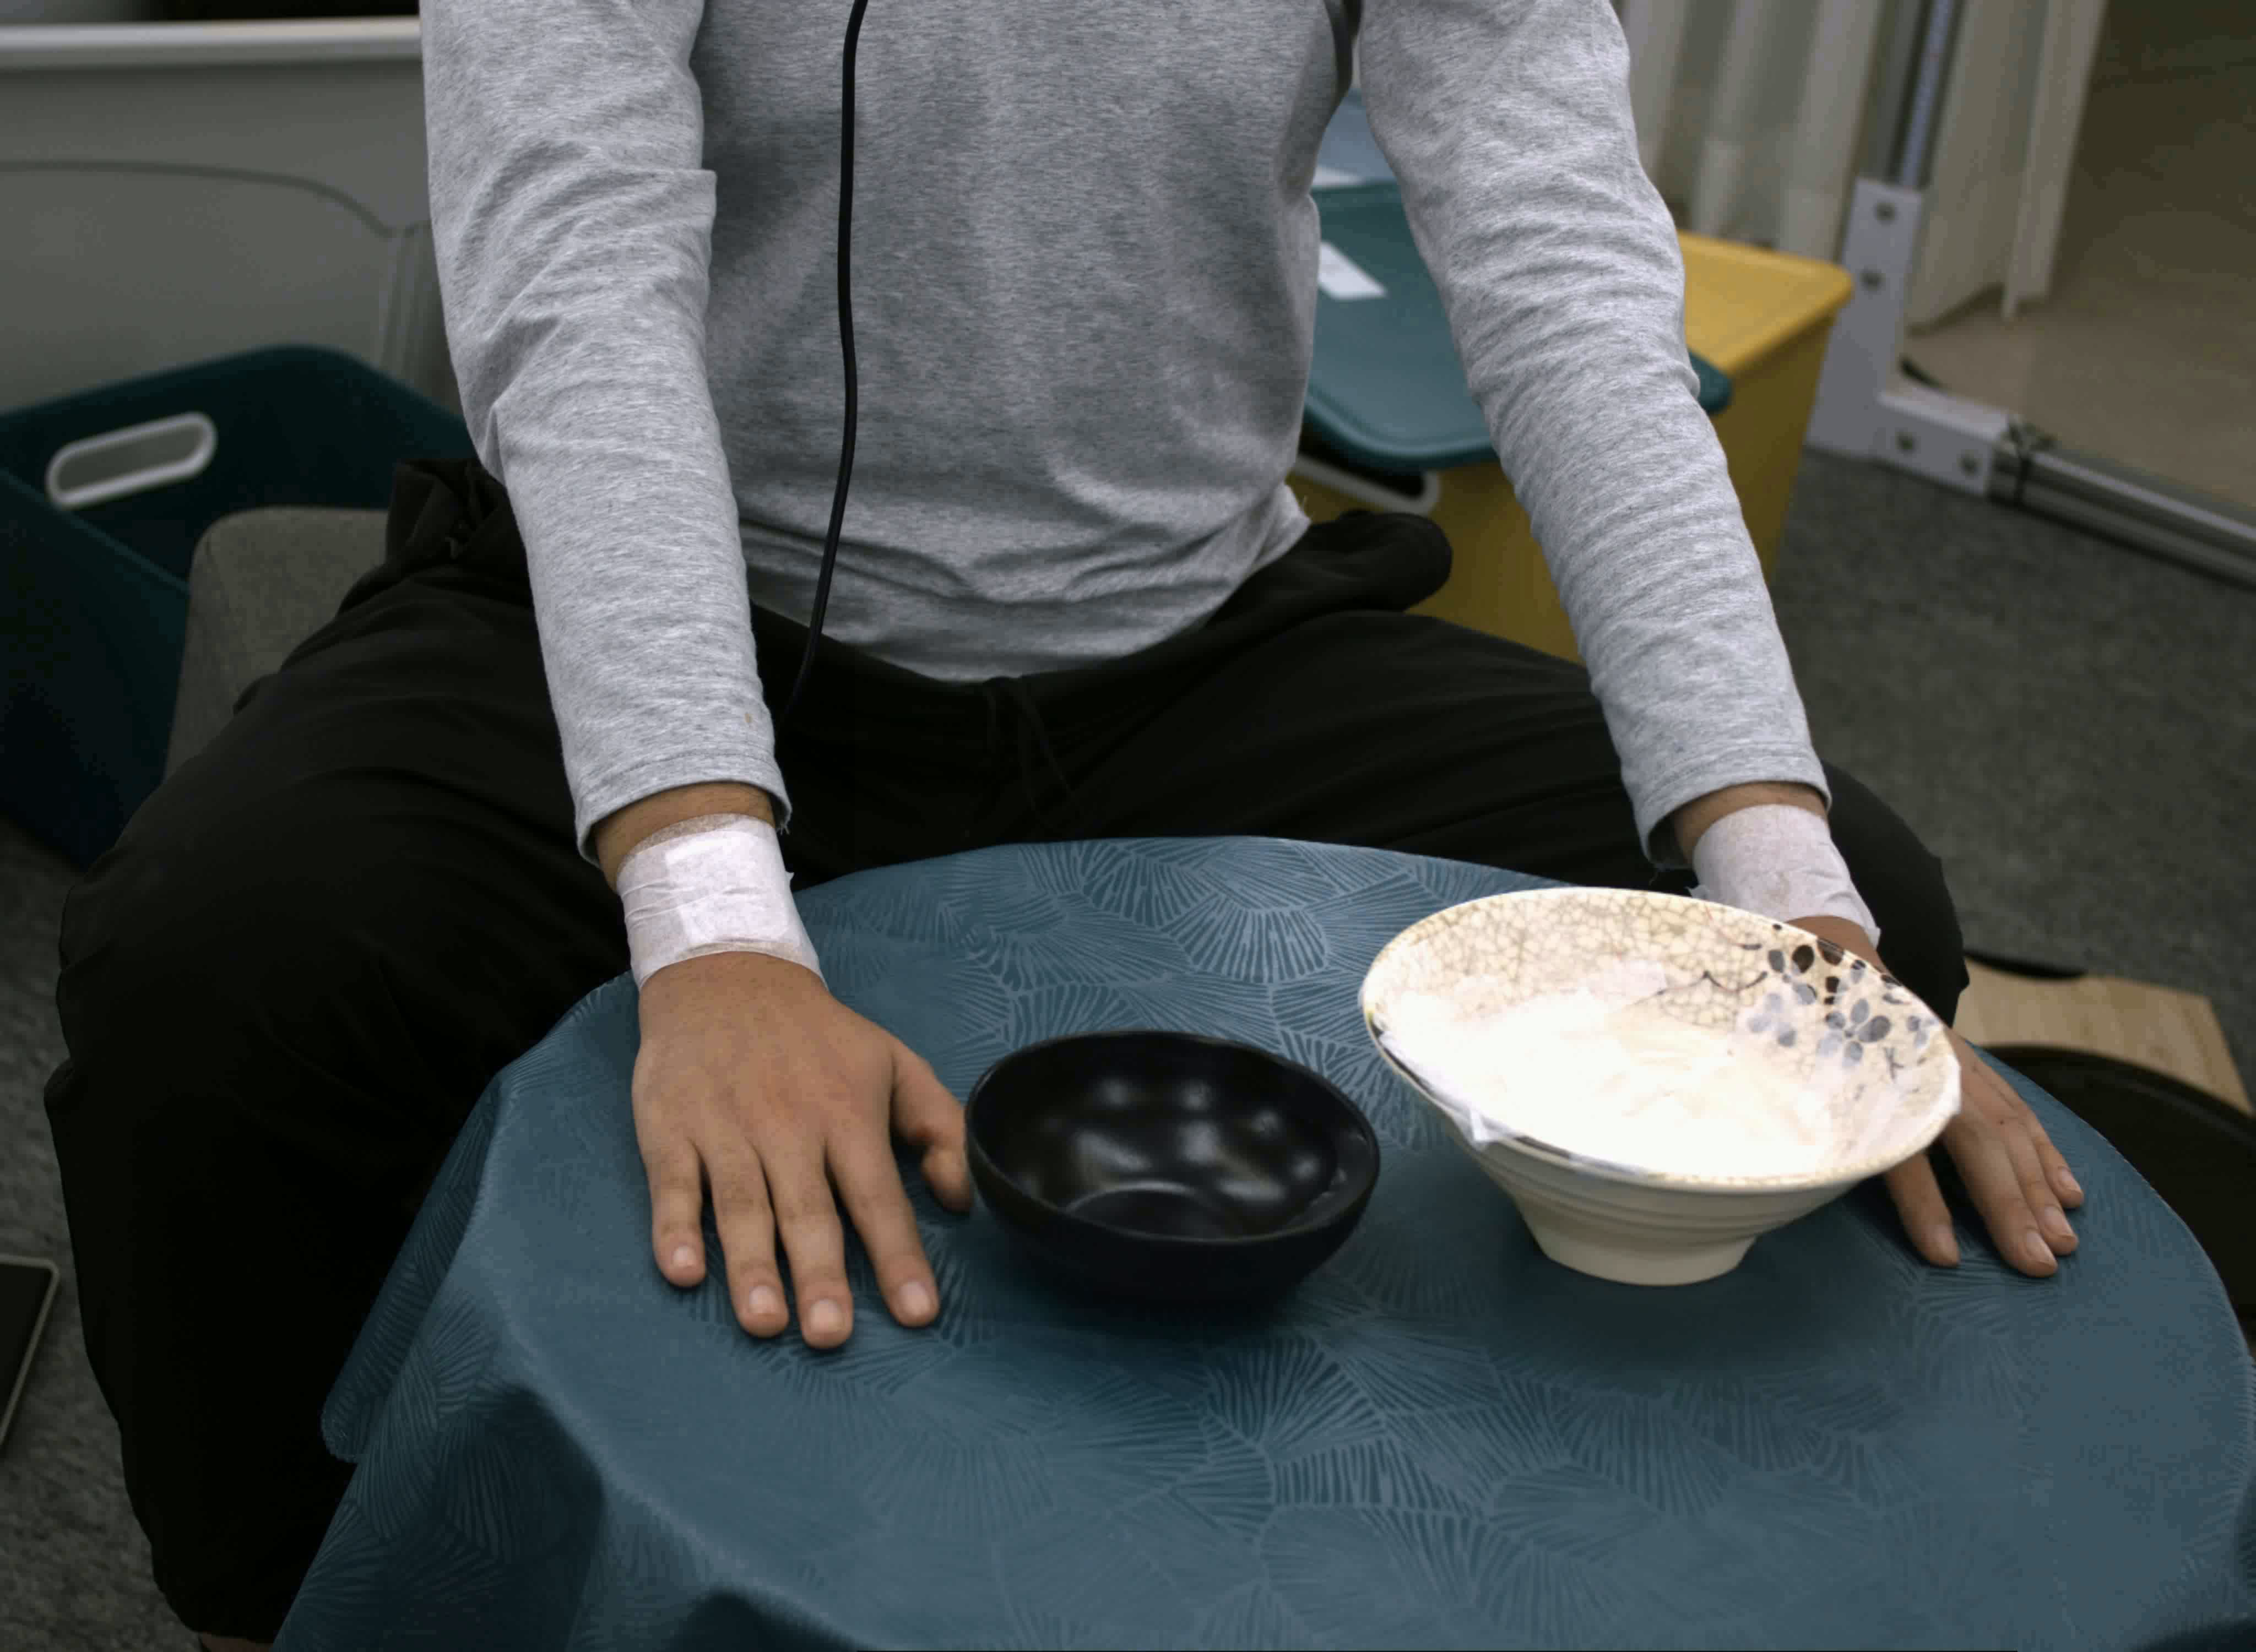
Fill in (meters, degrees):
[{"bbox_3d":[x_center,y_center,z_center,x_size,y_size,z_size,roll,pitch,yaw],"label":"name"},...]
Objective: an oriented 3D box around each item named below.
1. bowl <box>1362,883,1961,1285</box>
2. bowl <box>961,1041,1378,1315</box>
[{"bbox_3d":[0.175,0.100,1.804,0.203,0.078,0.205,6,26,-3],"label":"bowl"},{"bbox_3d":[0.011,0.123,1.760,0.139,0.049,0.141,6,23,-3],"label":"bowl"}]
